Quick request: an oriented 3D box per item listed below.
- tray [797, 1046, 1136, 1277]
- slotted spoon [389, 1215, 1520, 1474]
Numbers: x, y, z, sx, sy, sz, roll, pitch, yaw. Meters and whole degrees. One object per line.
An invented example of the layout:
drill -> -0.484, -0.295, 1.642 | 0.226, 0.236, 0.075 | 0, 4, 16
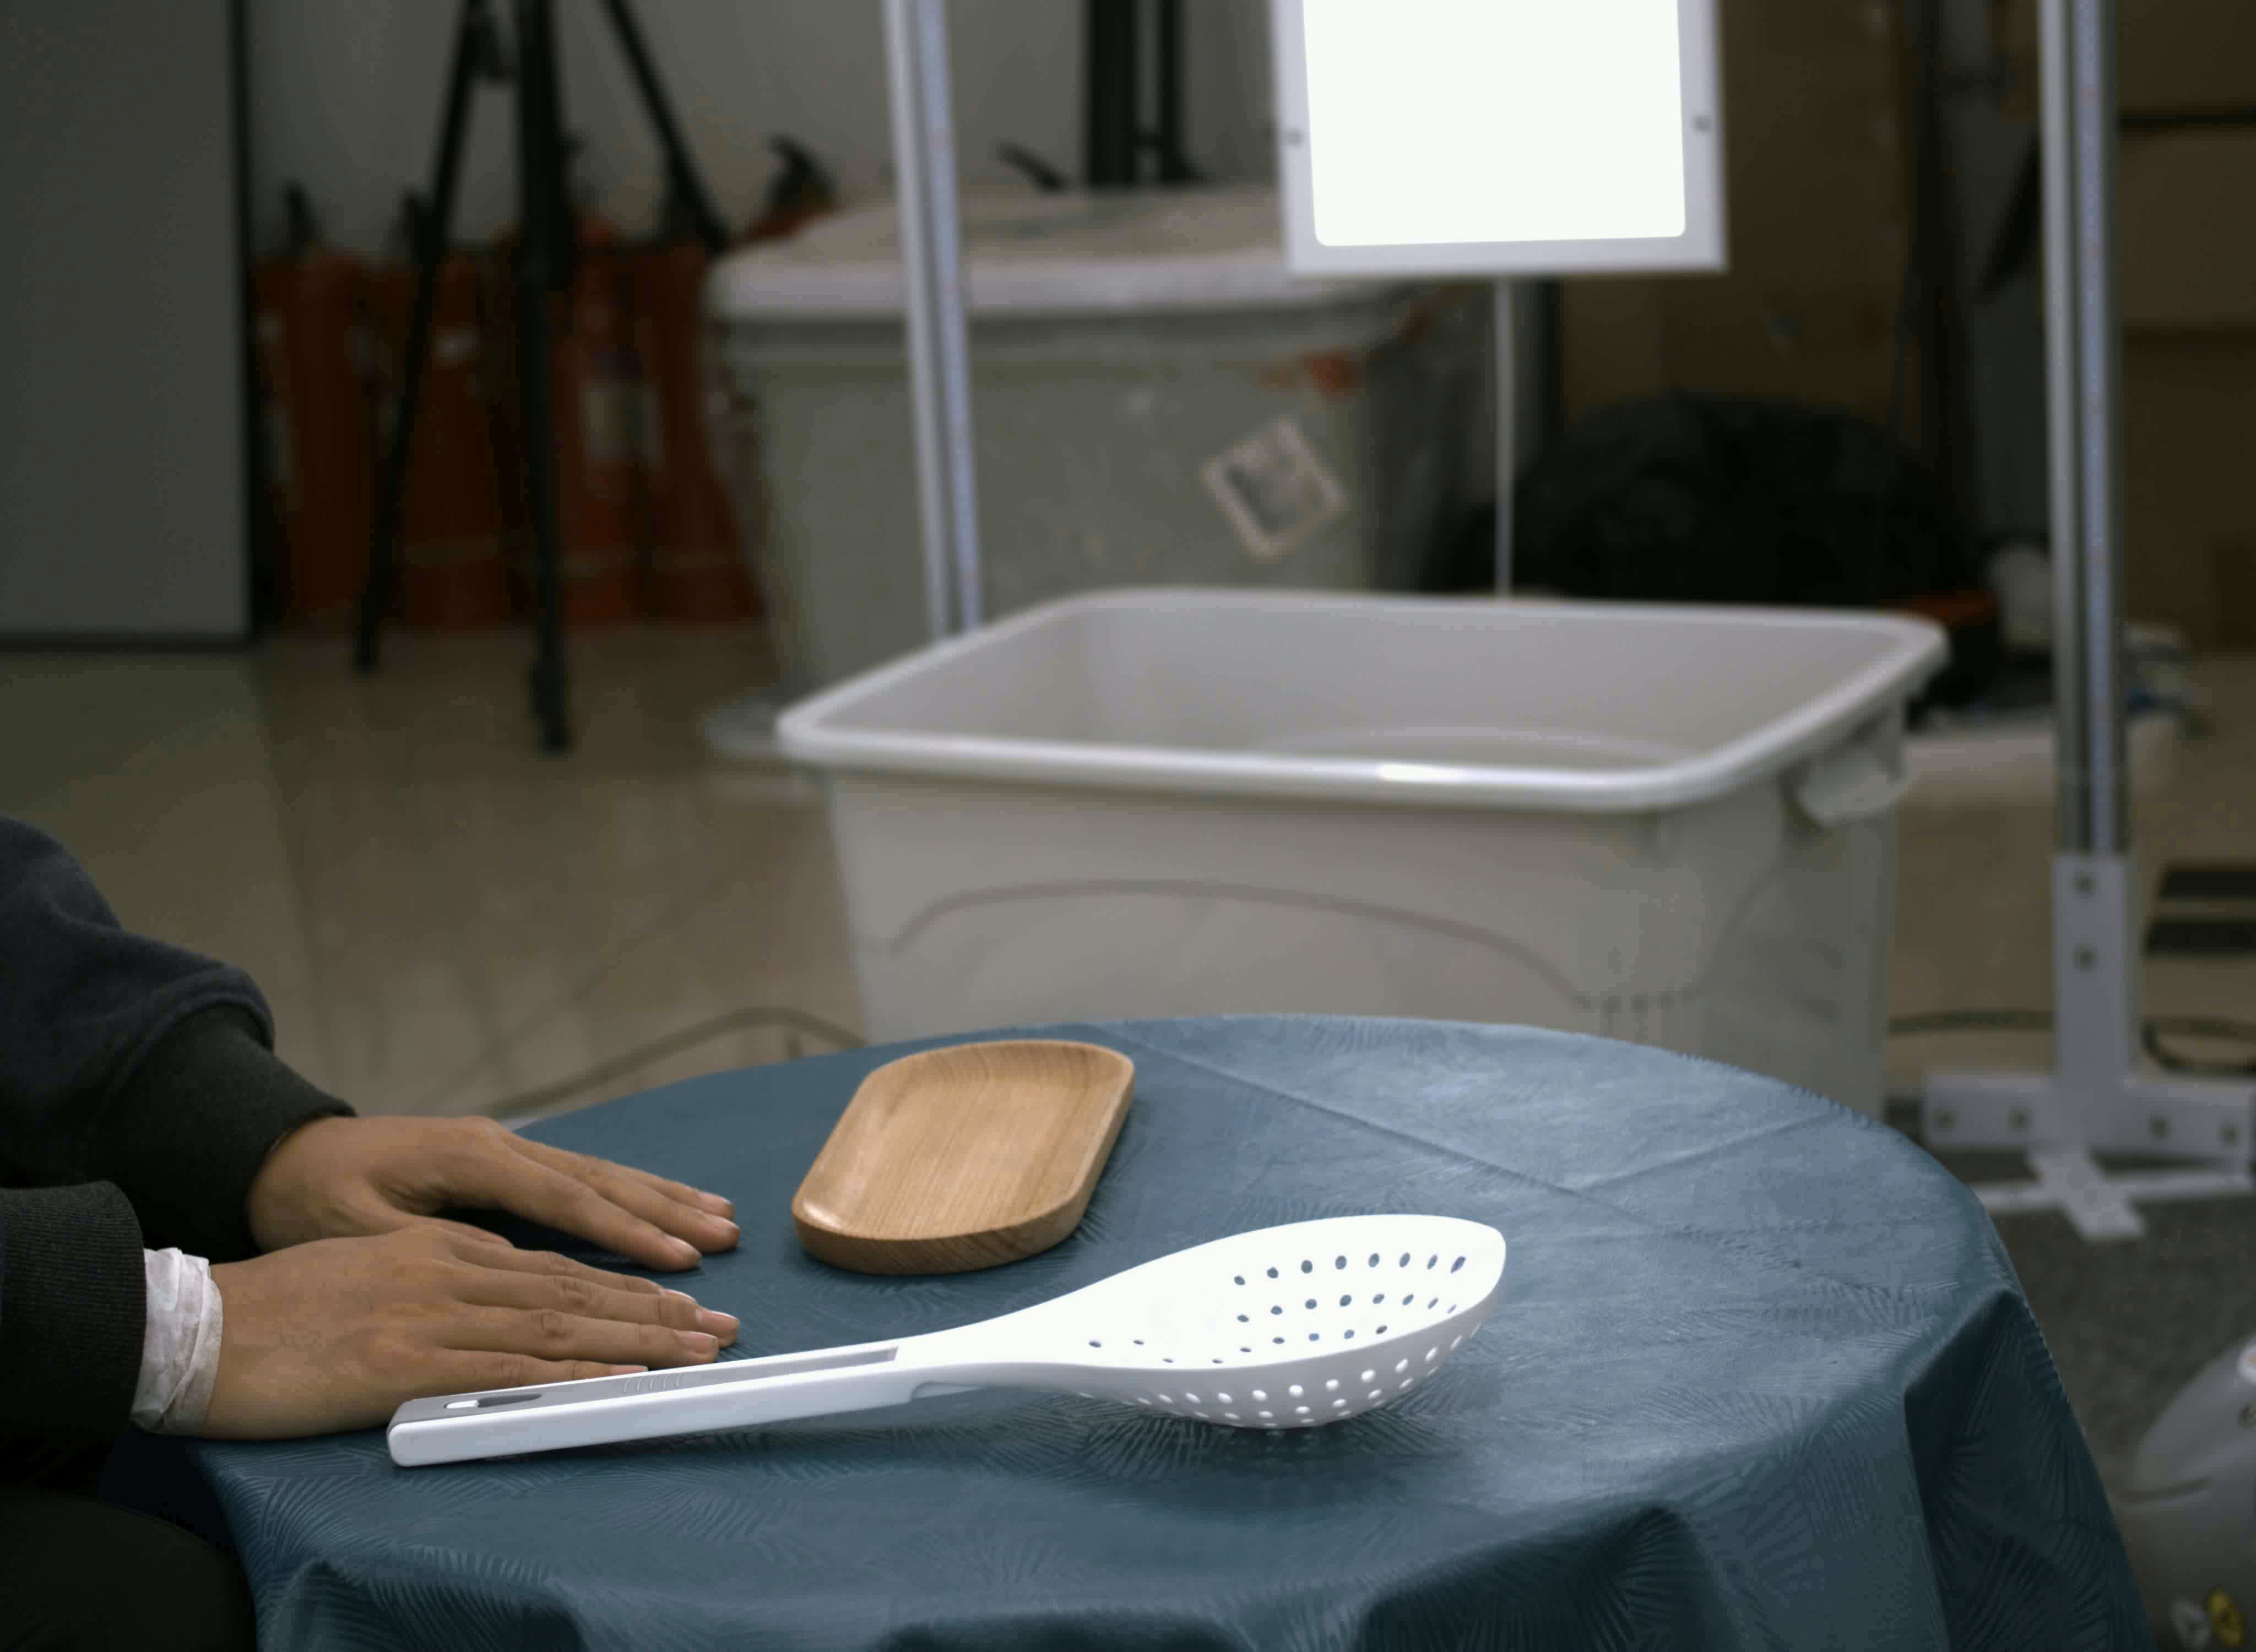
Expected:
tray -> -0.054, 0.115, 1.928 | 0.102, 0.020, 0.229 | -5, 15, 8
slotted spoon -> -0.054, 0.163, 1.673 | 0.351, 0.046, 0.135 | -4, 12, 7
